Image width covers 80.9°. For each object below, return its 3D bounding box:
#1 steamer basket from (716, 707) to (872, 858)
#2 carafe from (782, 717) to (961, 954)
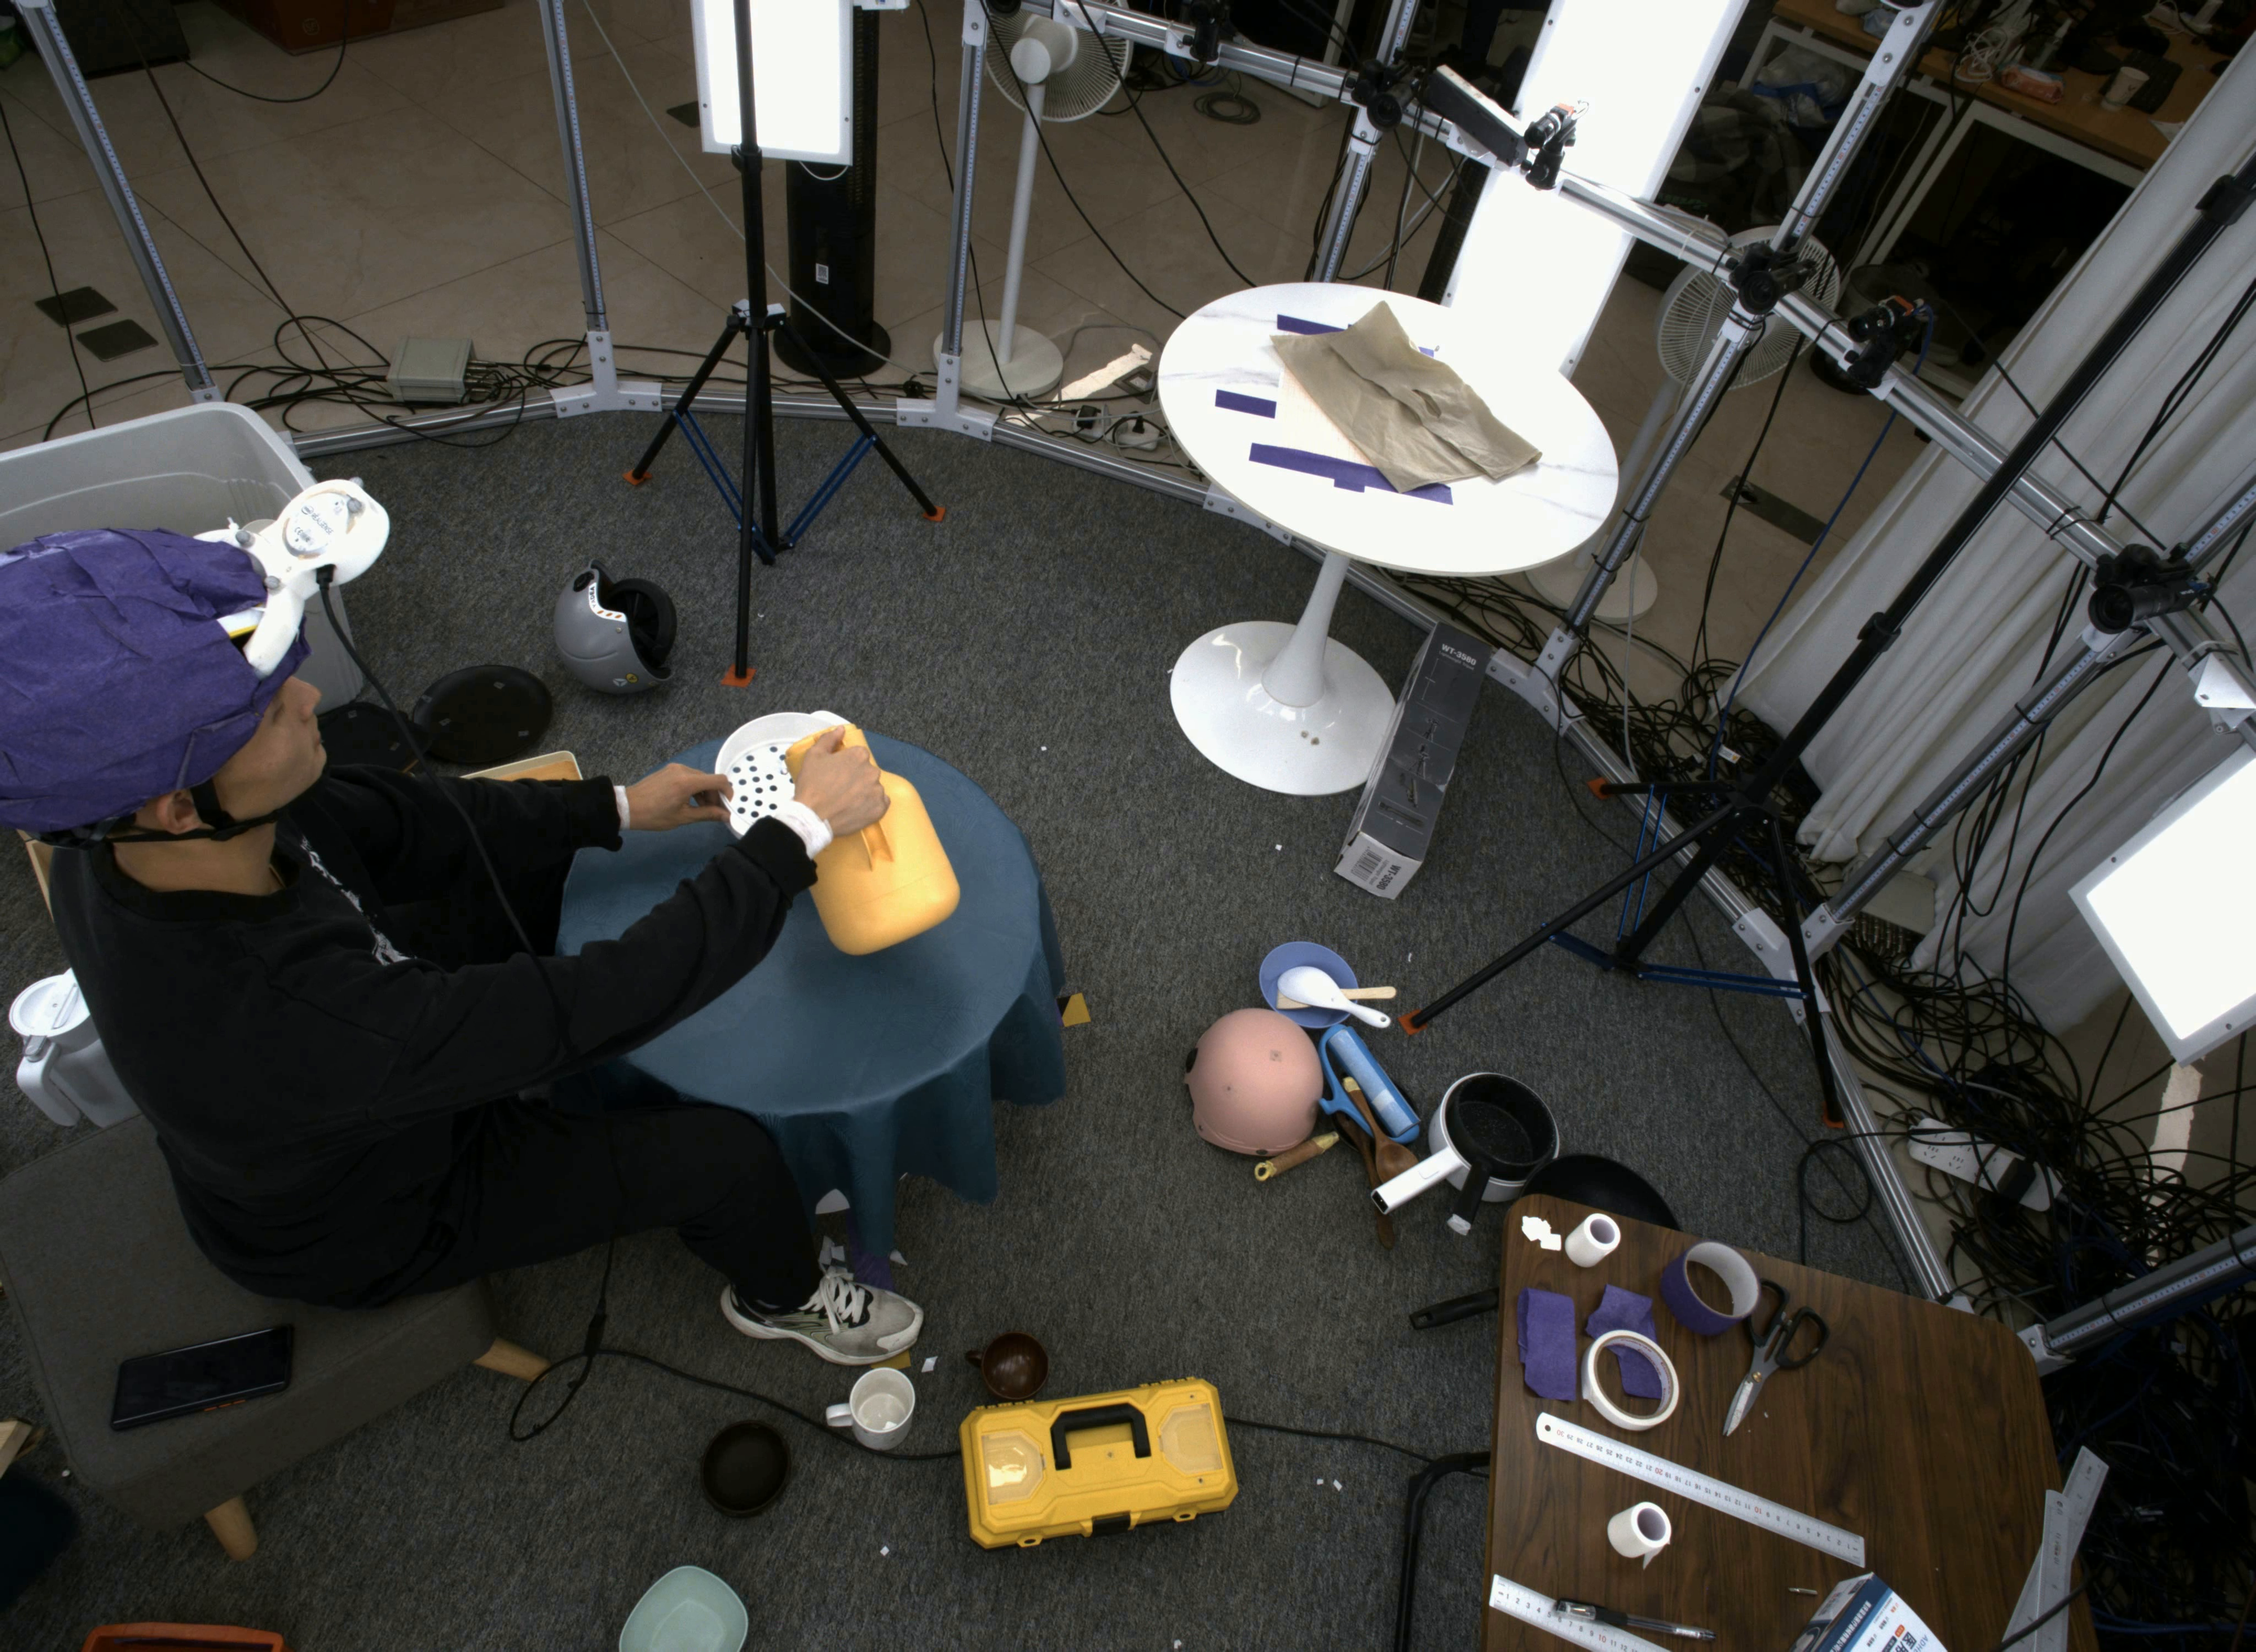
[{"bbox_3d":[-0.431,-0.054,1.677,0.201,0.070,0.229,29,51,-3],"label":"steamer basket"},{"bbox_3d":[-0.308,0.006,1.496,0.163,0.199,0.264,-26,96,-14],"label":"carafe"}]
